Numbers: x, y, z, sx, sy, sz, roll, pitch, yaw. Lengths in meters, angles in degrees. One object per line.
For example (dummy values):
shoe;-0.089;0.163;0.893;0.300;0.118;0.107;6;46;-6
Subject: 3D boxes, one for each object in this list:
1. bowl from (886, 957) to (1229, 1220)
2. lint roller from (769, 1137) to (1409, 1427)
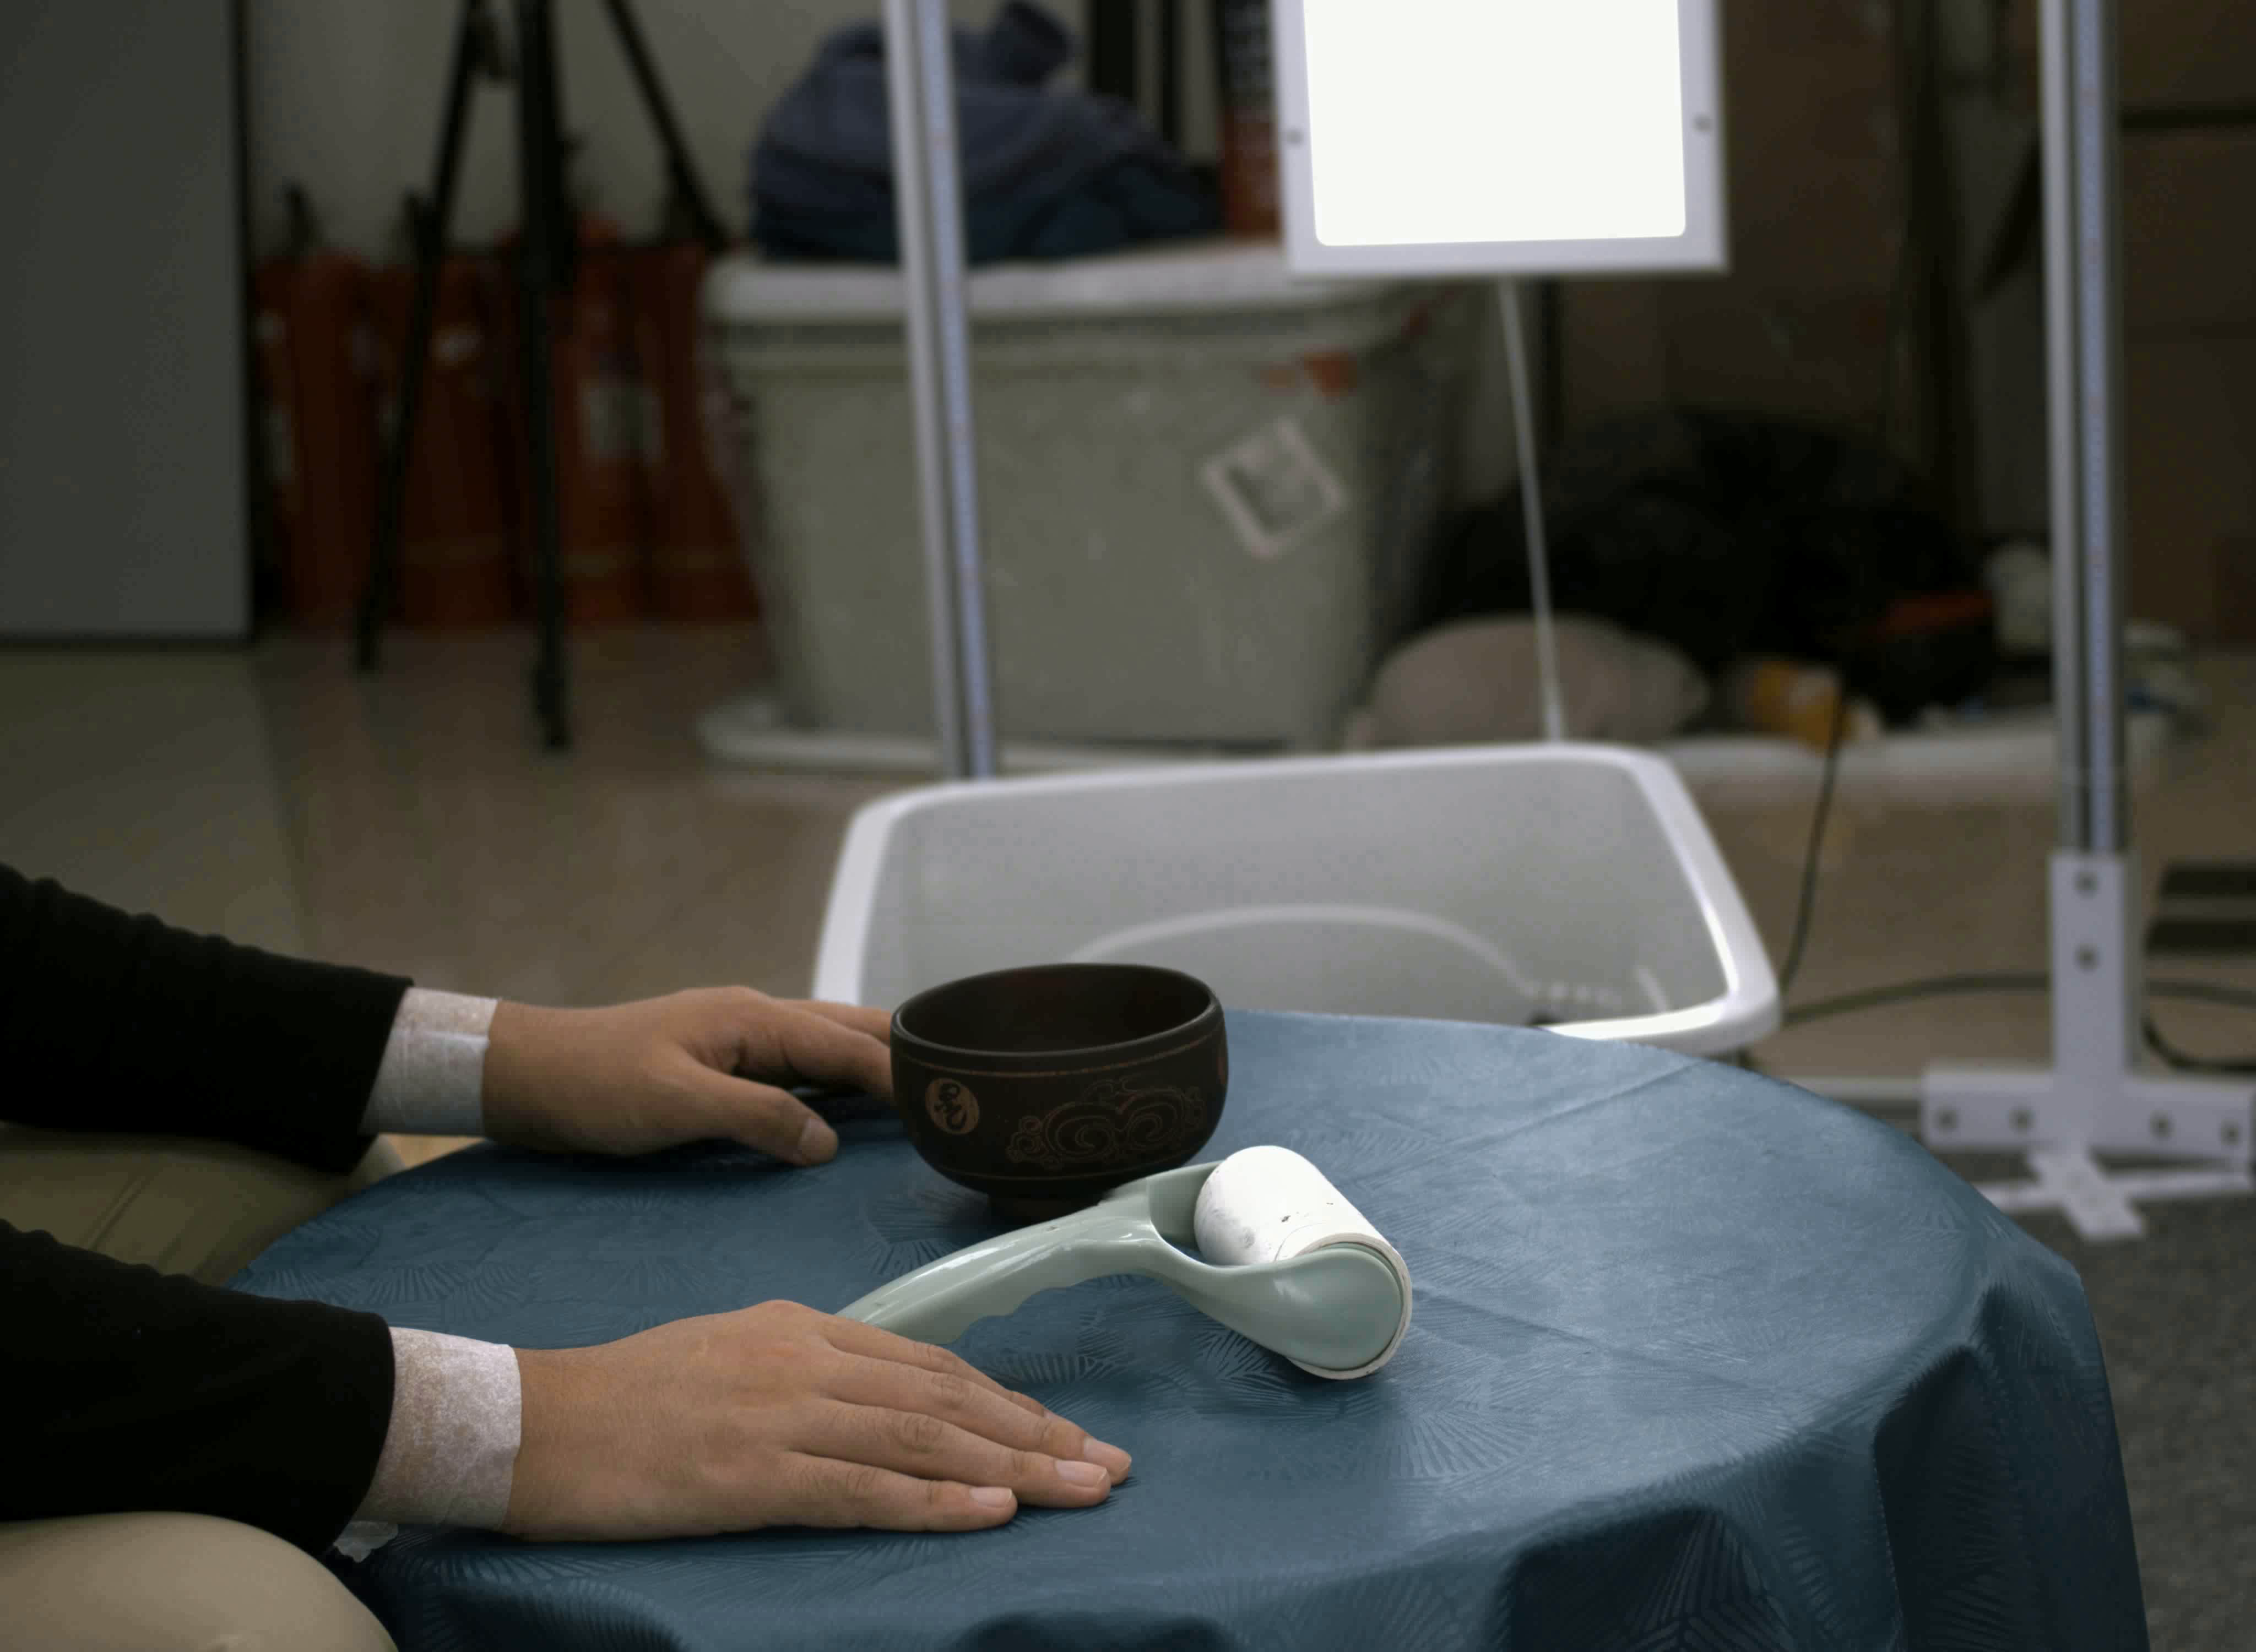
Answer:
bowl;-0.022;0.094;1.890;0.118;0.070;0.118;-6;15;0
lint roller;-0.019;0.146;1.732;0.195;0.048;0.117;-9;15;-9
